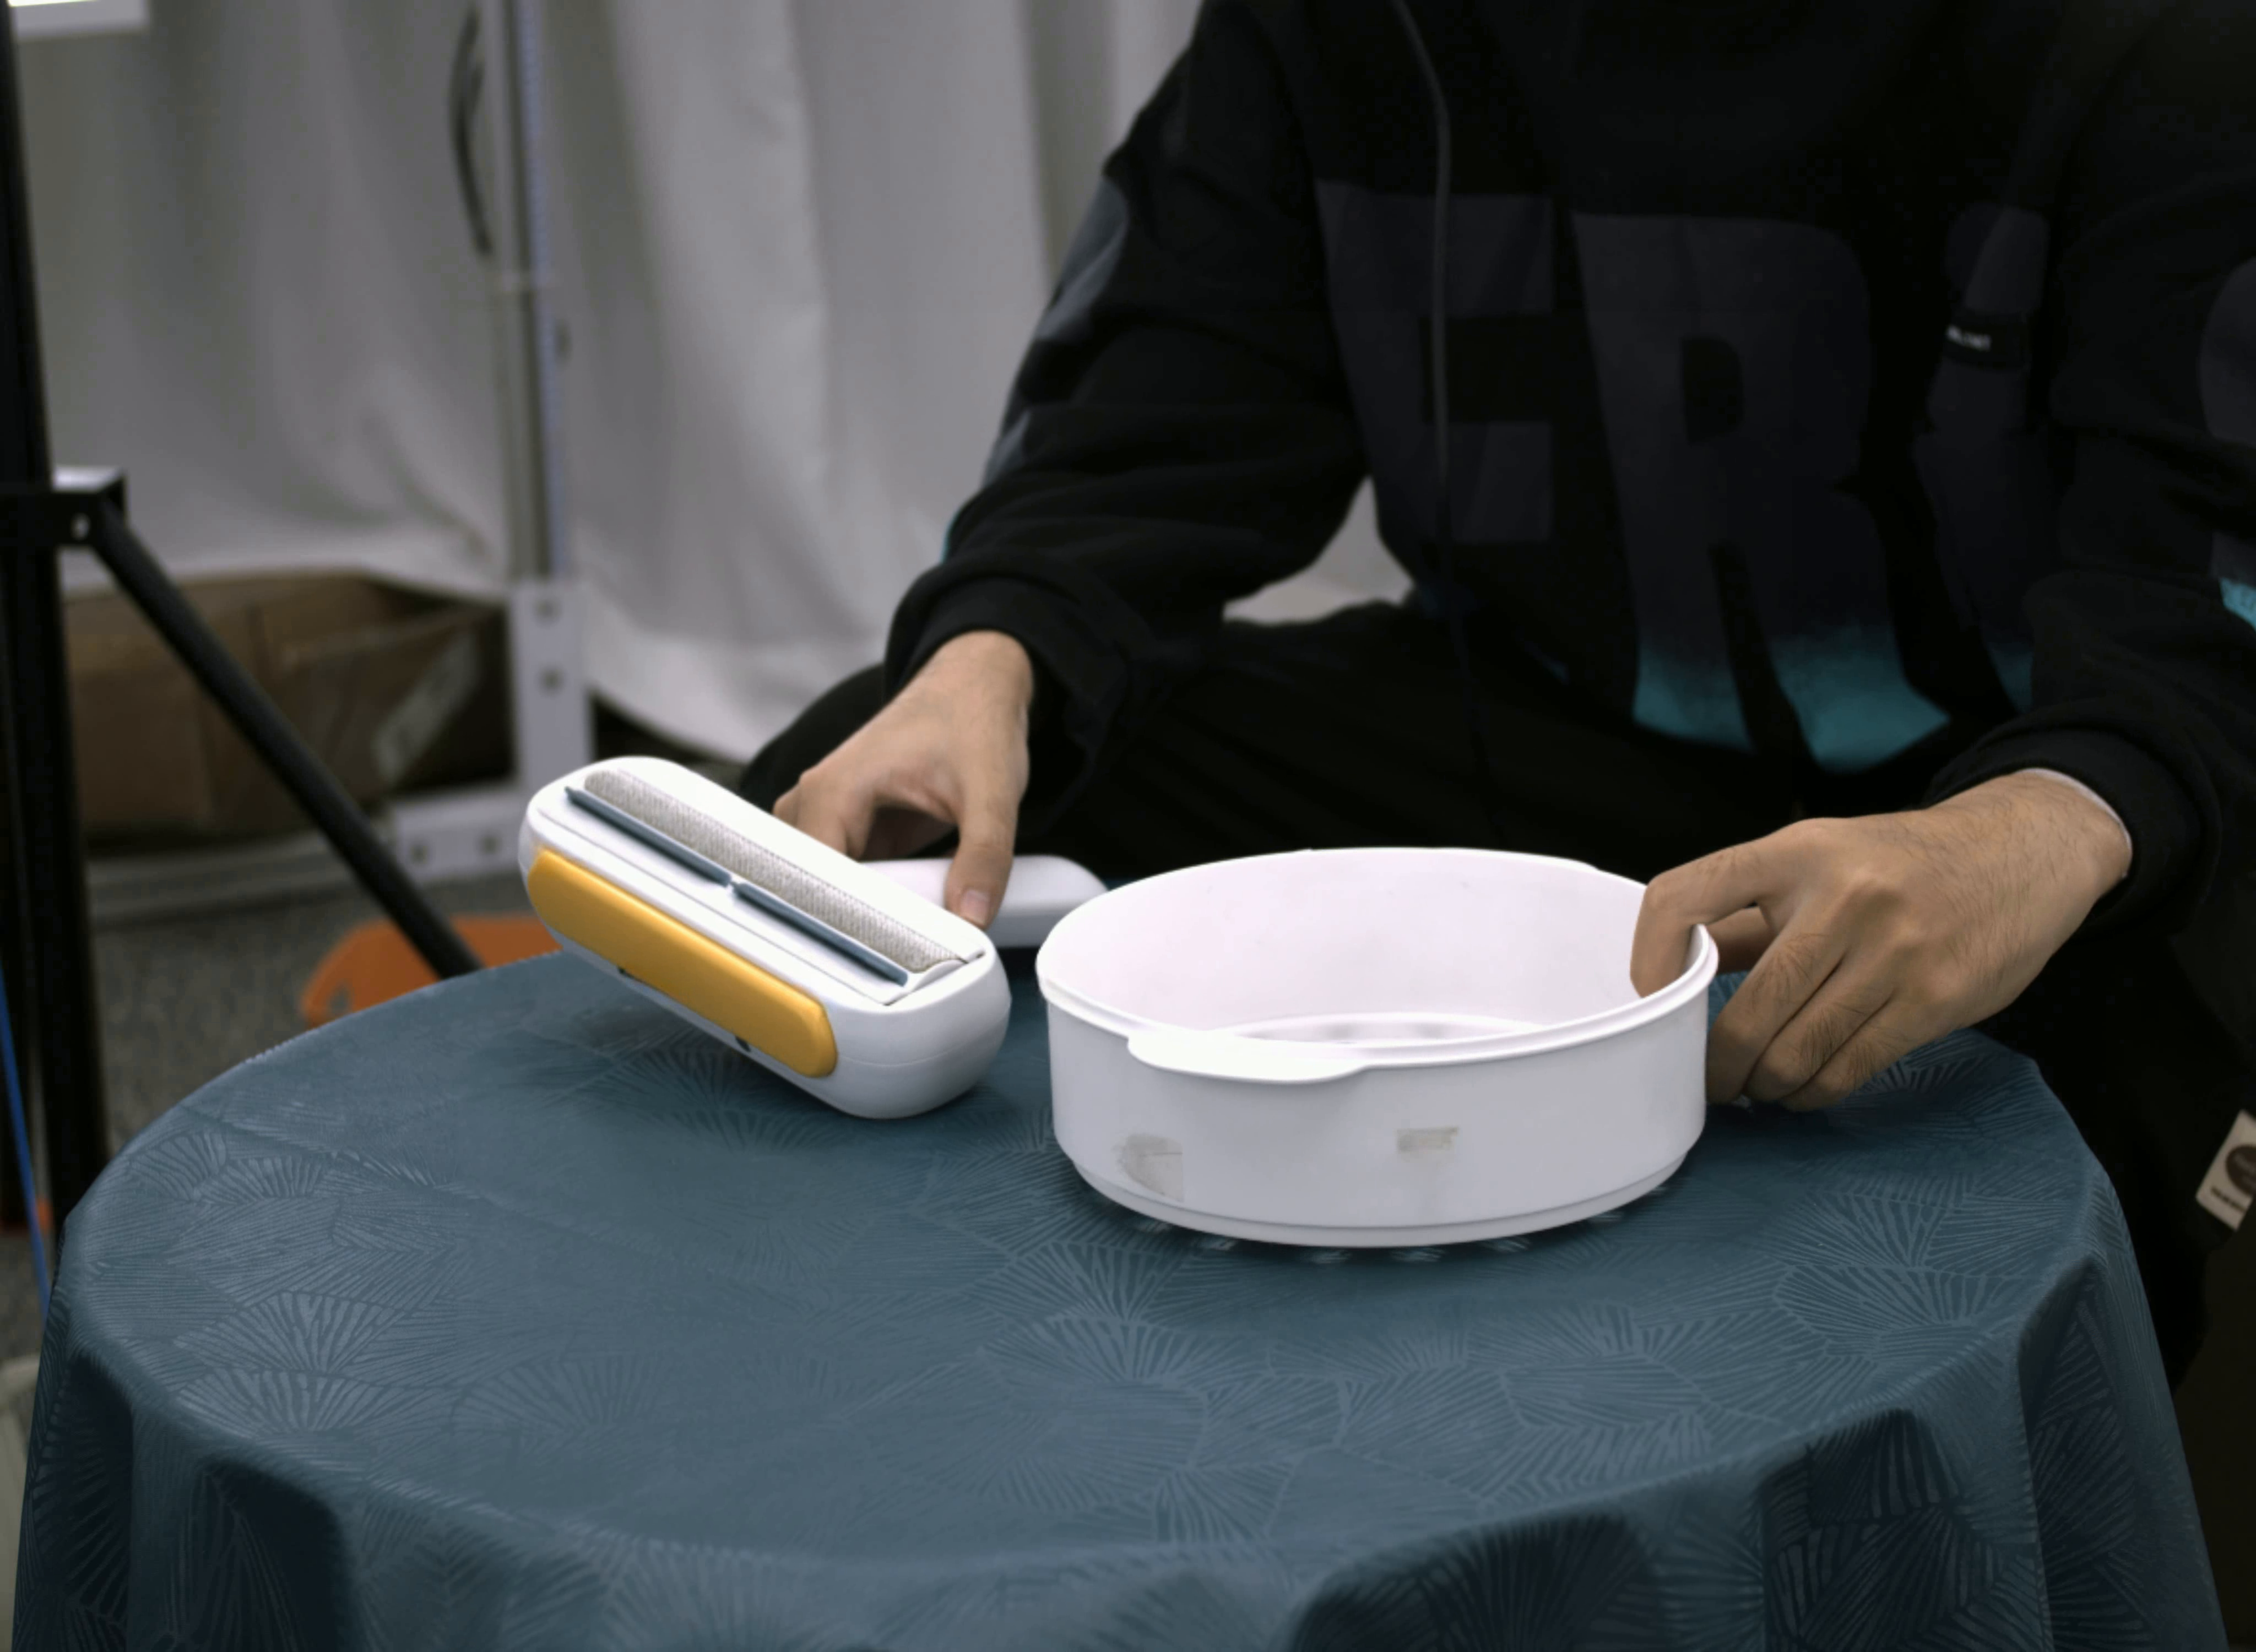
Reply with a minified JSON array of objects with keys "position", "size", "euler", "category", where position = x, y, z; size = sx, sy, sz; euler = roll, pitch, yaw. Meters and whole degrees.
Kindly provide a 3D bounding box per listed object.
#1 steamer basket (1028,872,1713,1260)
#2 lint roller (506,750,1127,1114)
[{"position":[0.070,0.071,1.564],"size":[0.205,0.069,0.227],"euler":[7,16,26],"category":"steamer basket"},{"position":[-0.079,0.027,1.729],"size":[0.188,0.074,0.197],"euler":[-15,27,-38],"category":"lint roller"}]
